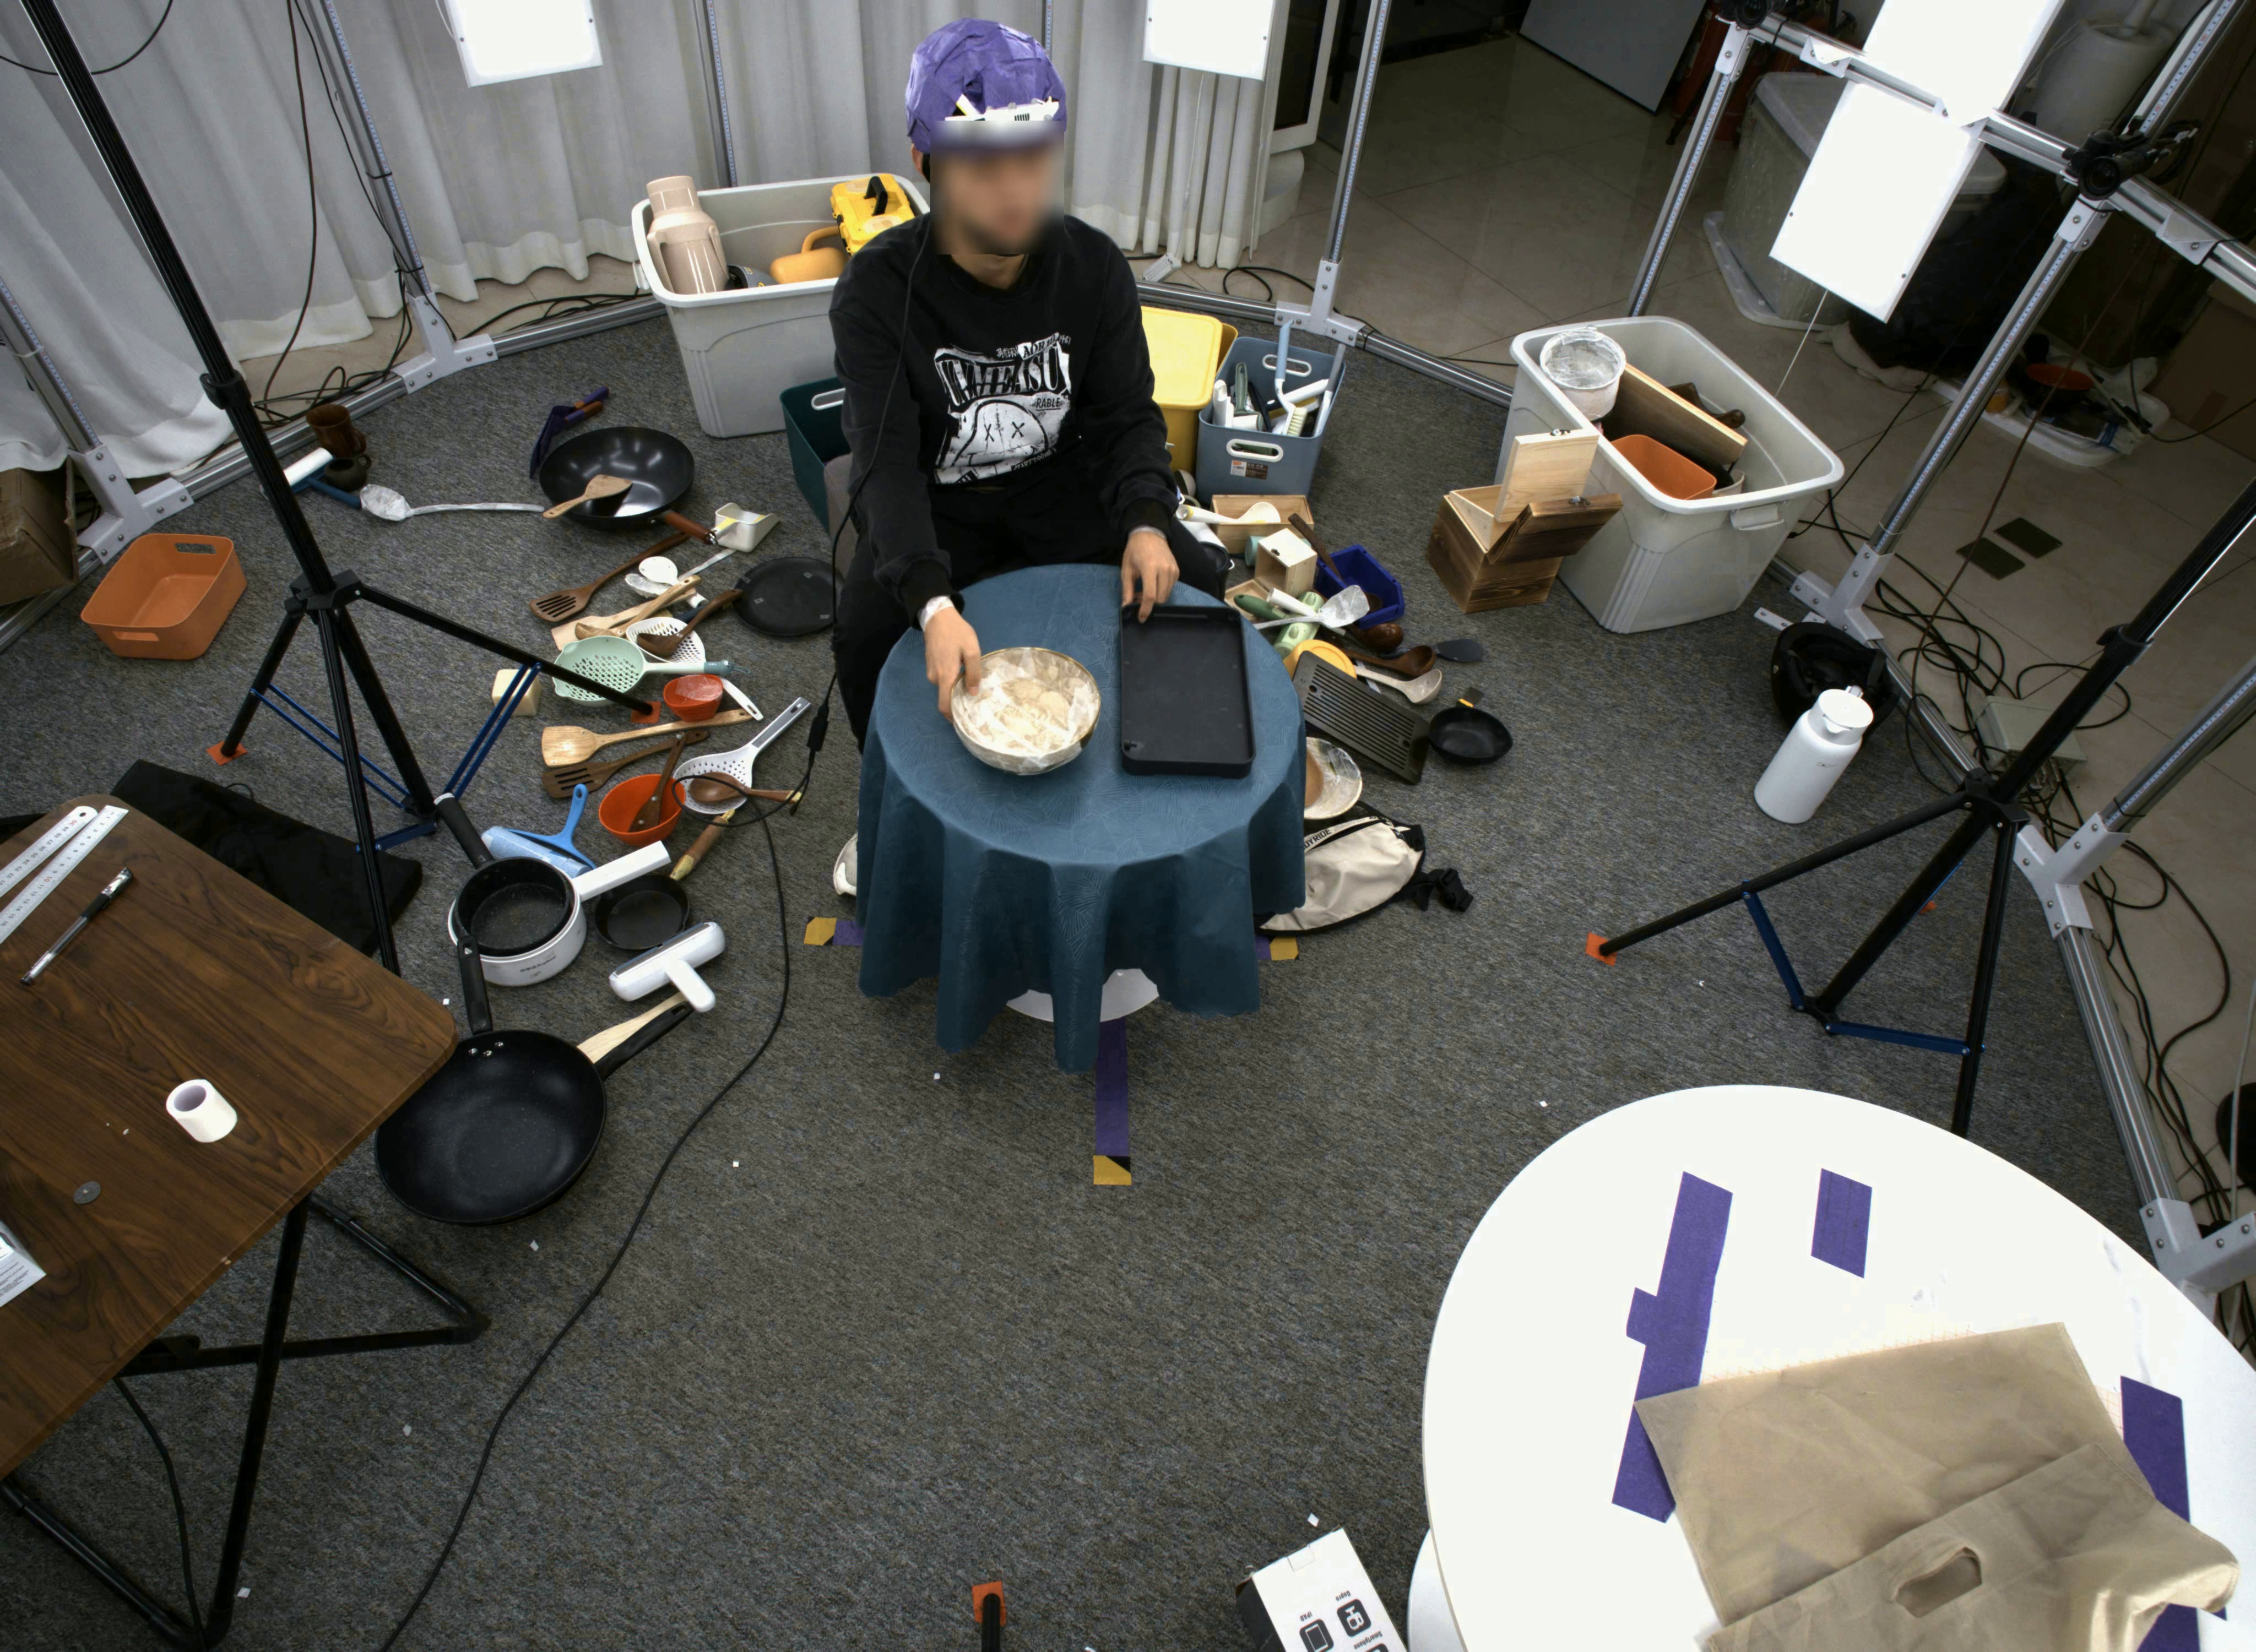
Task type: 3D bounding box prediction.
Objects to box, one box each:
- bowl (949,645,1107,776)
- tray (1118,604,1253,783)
[{"bbox_3d":[-0.134,-0.142,1.738,0.214,0.092,0.220,1,50,-2],"label":"bowl"},{"bbox_3d":[0.080,-0.196,1.839,0.184,0.036,0.326,3,50,-2],"label":"tray"}]
